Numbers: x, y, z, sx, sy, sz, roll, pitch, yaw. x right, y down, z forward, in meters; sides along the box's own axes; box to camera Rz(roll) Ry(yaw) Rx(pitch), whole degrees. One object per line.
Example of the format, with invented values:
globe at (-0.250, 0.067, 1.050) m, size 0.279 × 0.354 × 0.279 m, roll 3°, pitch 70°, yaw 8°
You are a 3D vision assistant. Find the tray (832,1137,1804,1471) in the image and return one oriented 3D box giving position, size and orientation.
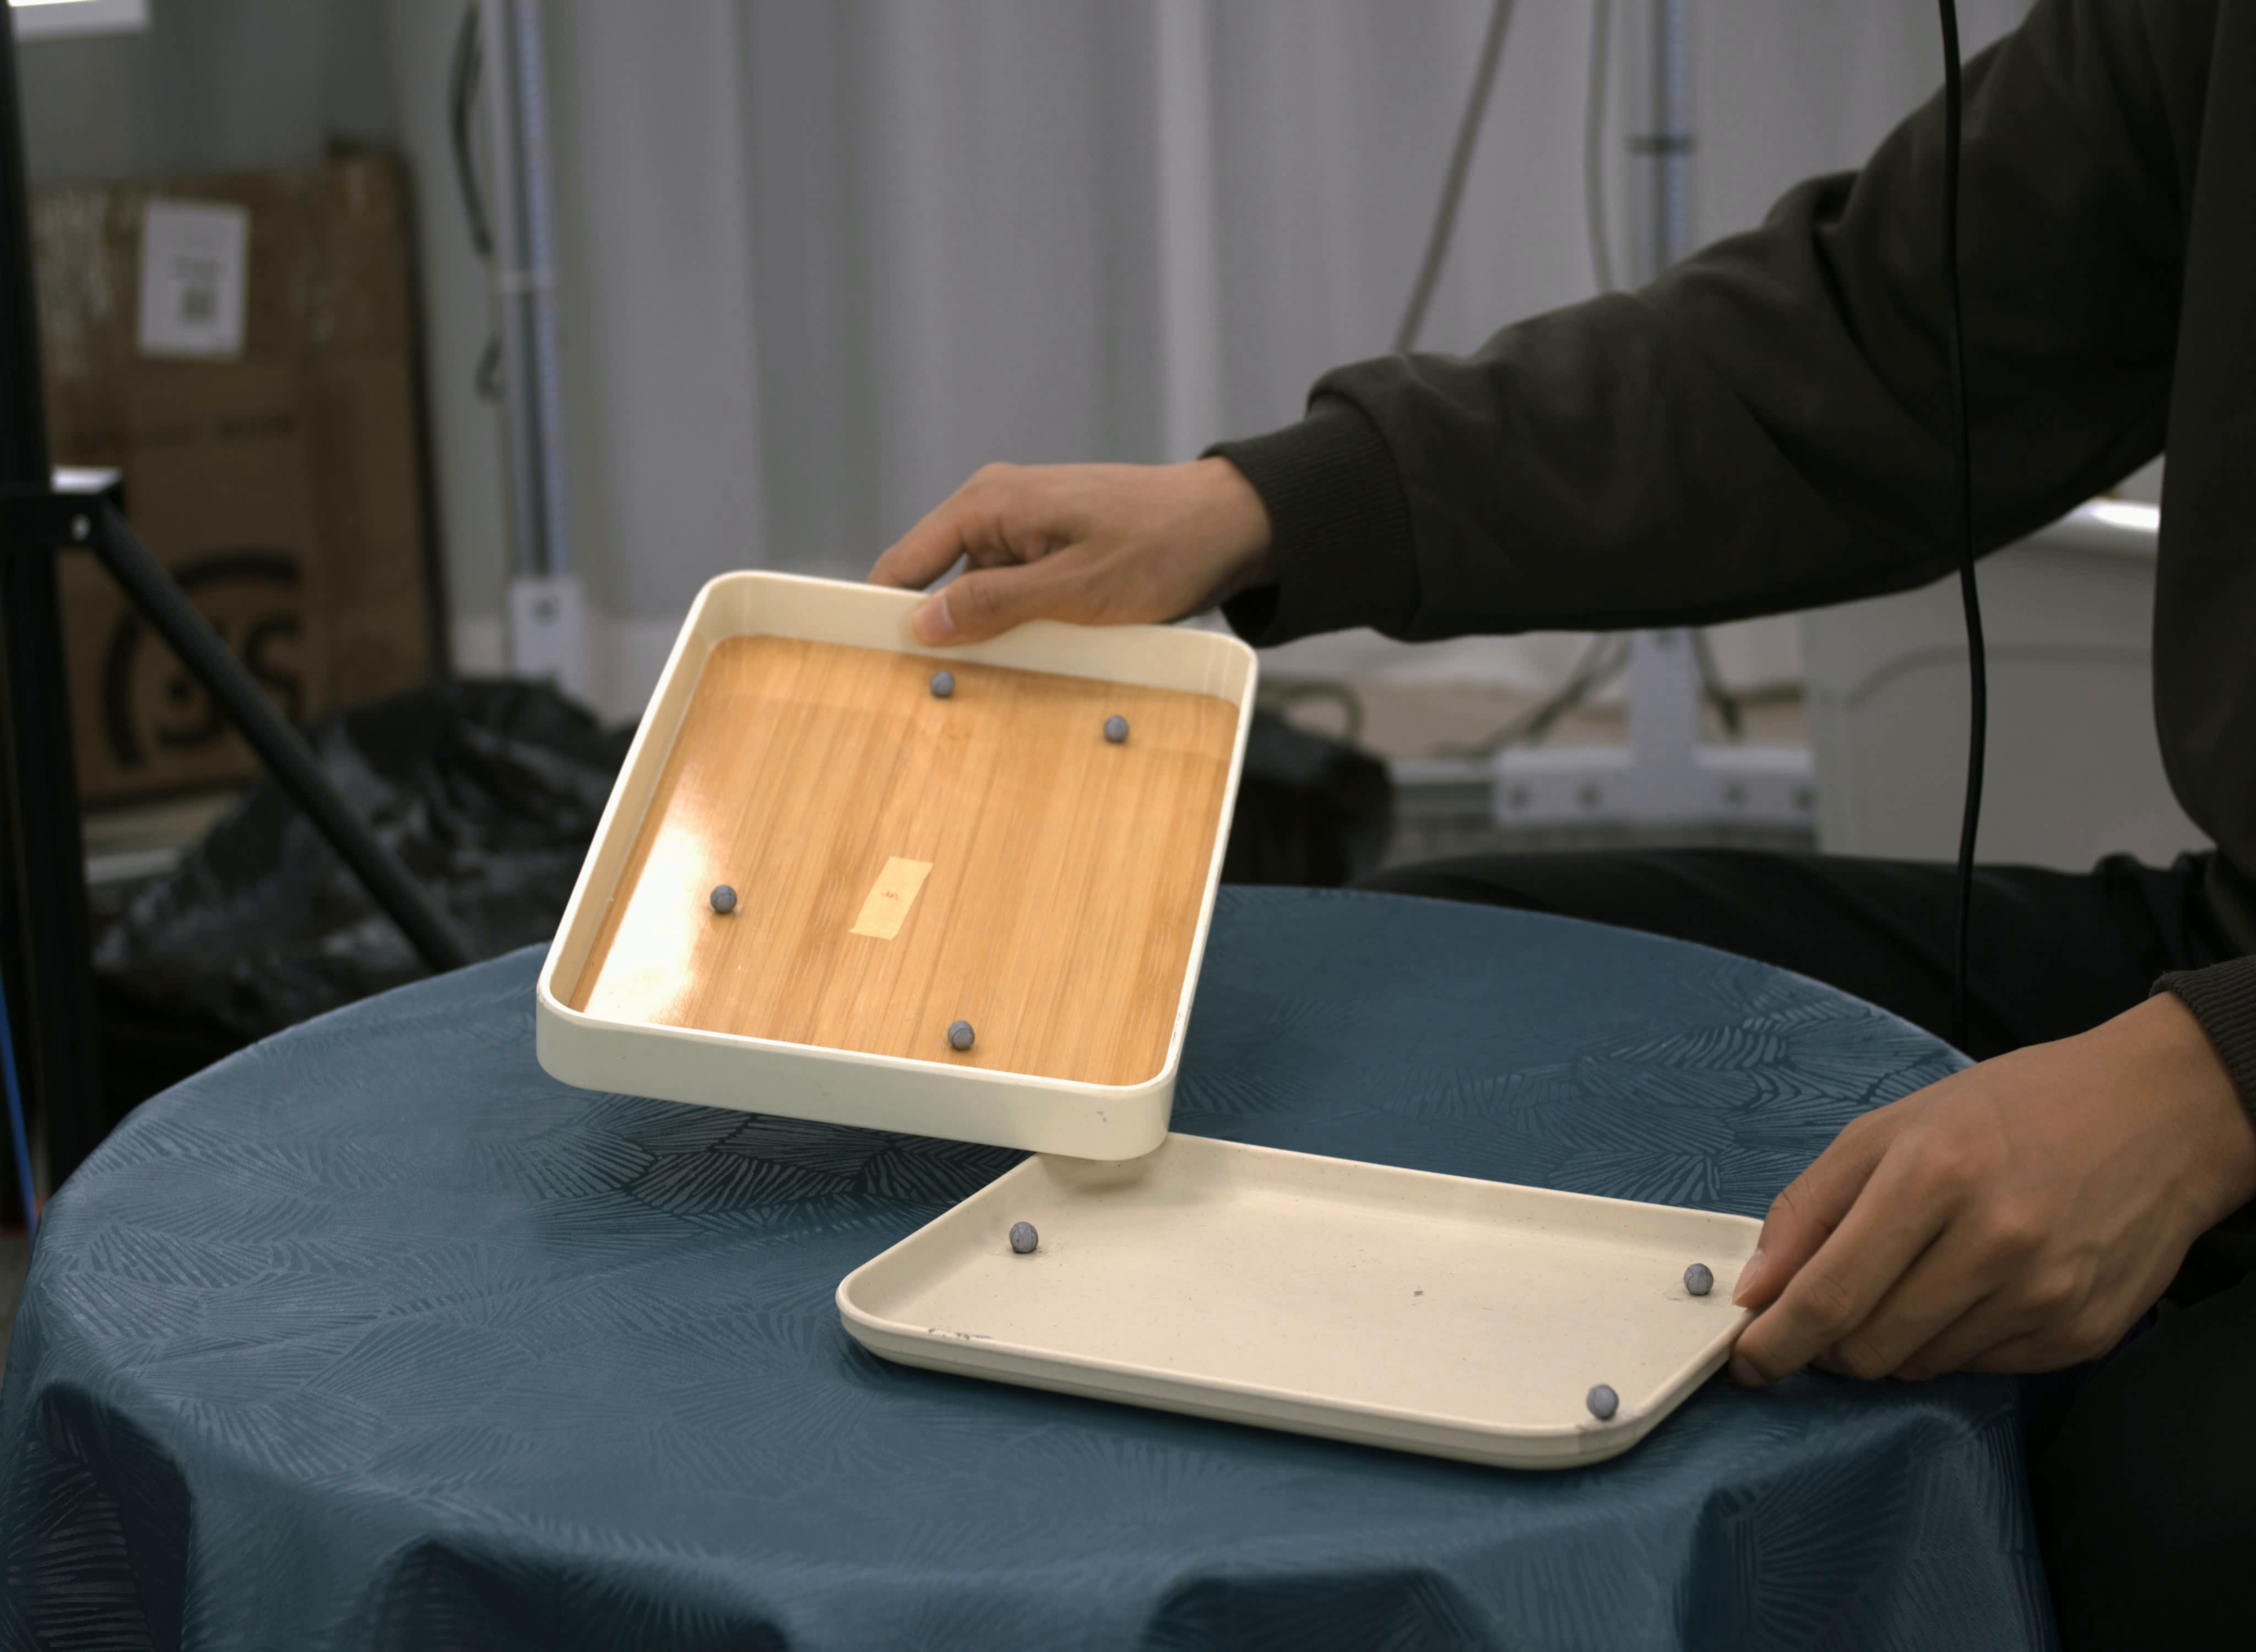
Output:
tray at (0.053, 0.129, 1.447) m, size 0.244 × 0.017 × 0.168 m, roll 7°, pitch 17°, yaw 28°

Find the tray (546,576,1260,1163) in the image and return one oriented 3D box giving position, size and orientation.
tray at (-0.064, 0.008, 1.673) m, size 0.191 × 0.027 × 0.301 m, roll 7°, pitch 29°, yaw 4°
